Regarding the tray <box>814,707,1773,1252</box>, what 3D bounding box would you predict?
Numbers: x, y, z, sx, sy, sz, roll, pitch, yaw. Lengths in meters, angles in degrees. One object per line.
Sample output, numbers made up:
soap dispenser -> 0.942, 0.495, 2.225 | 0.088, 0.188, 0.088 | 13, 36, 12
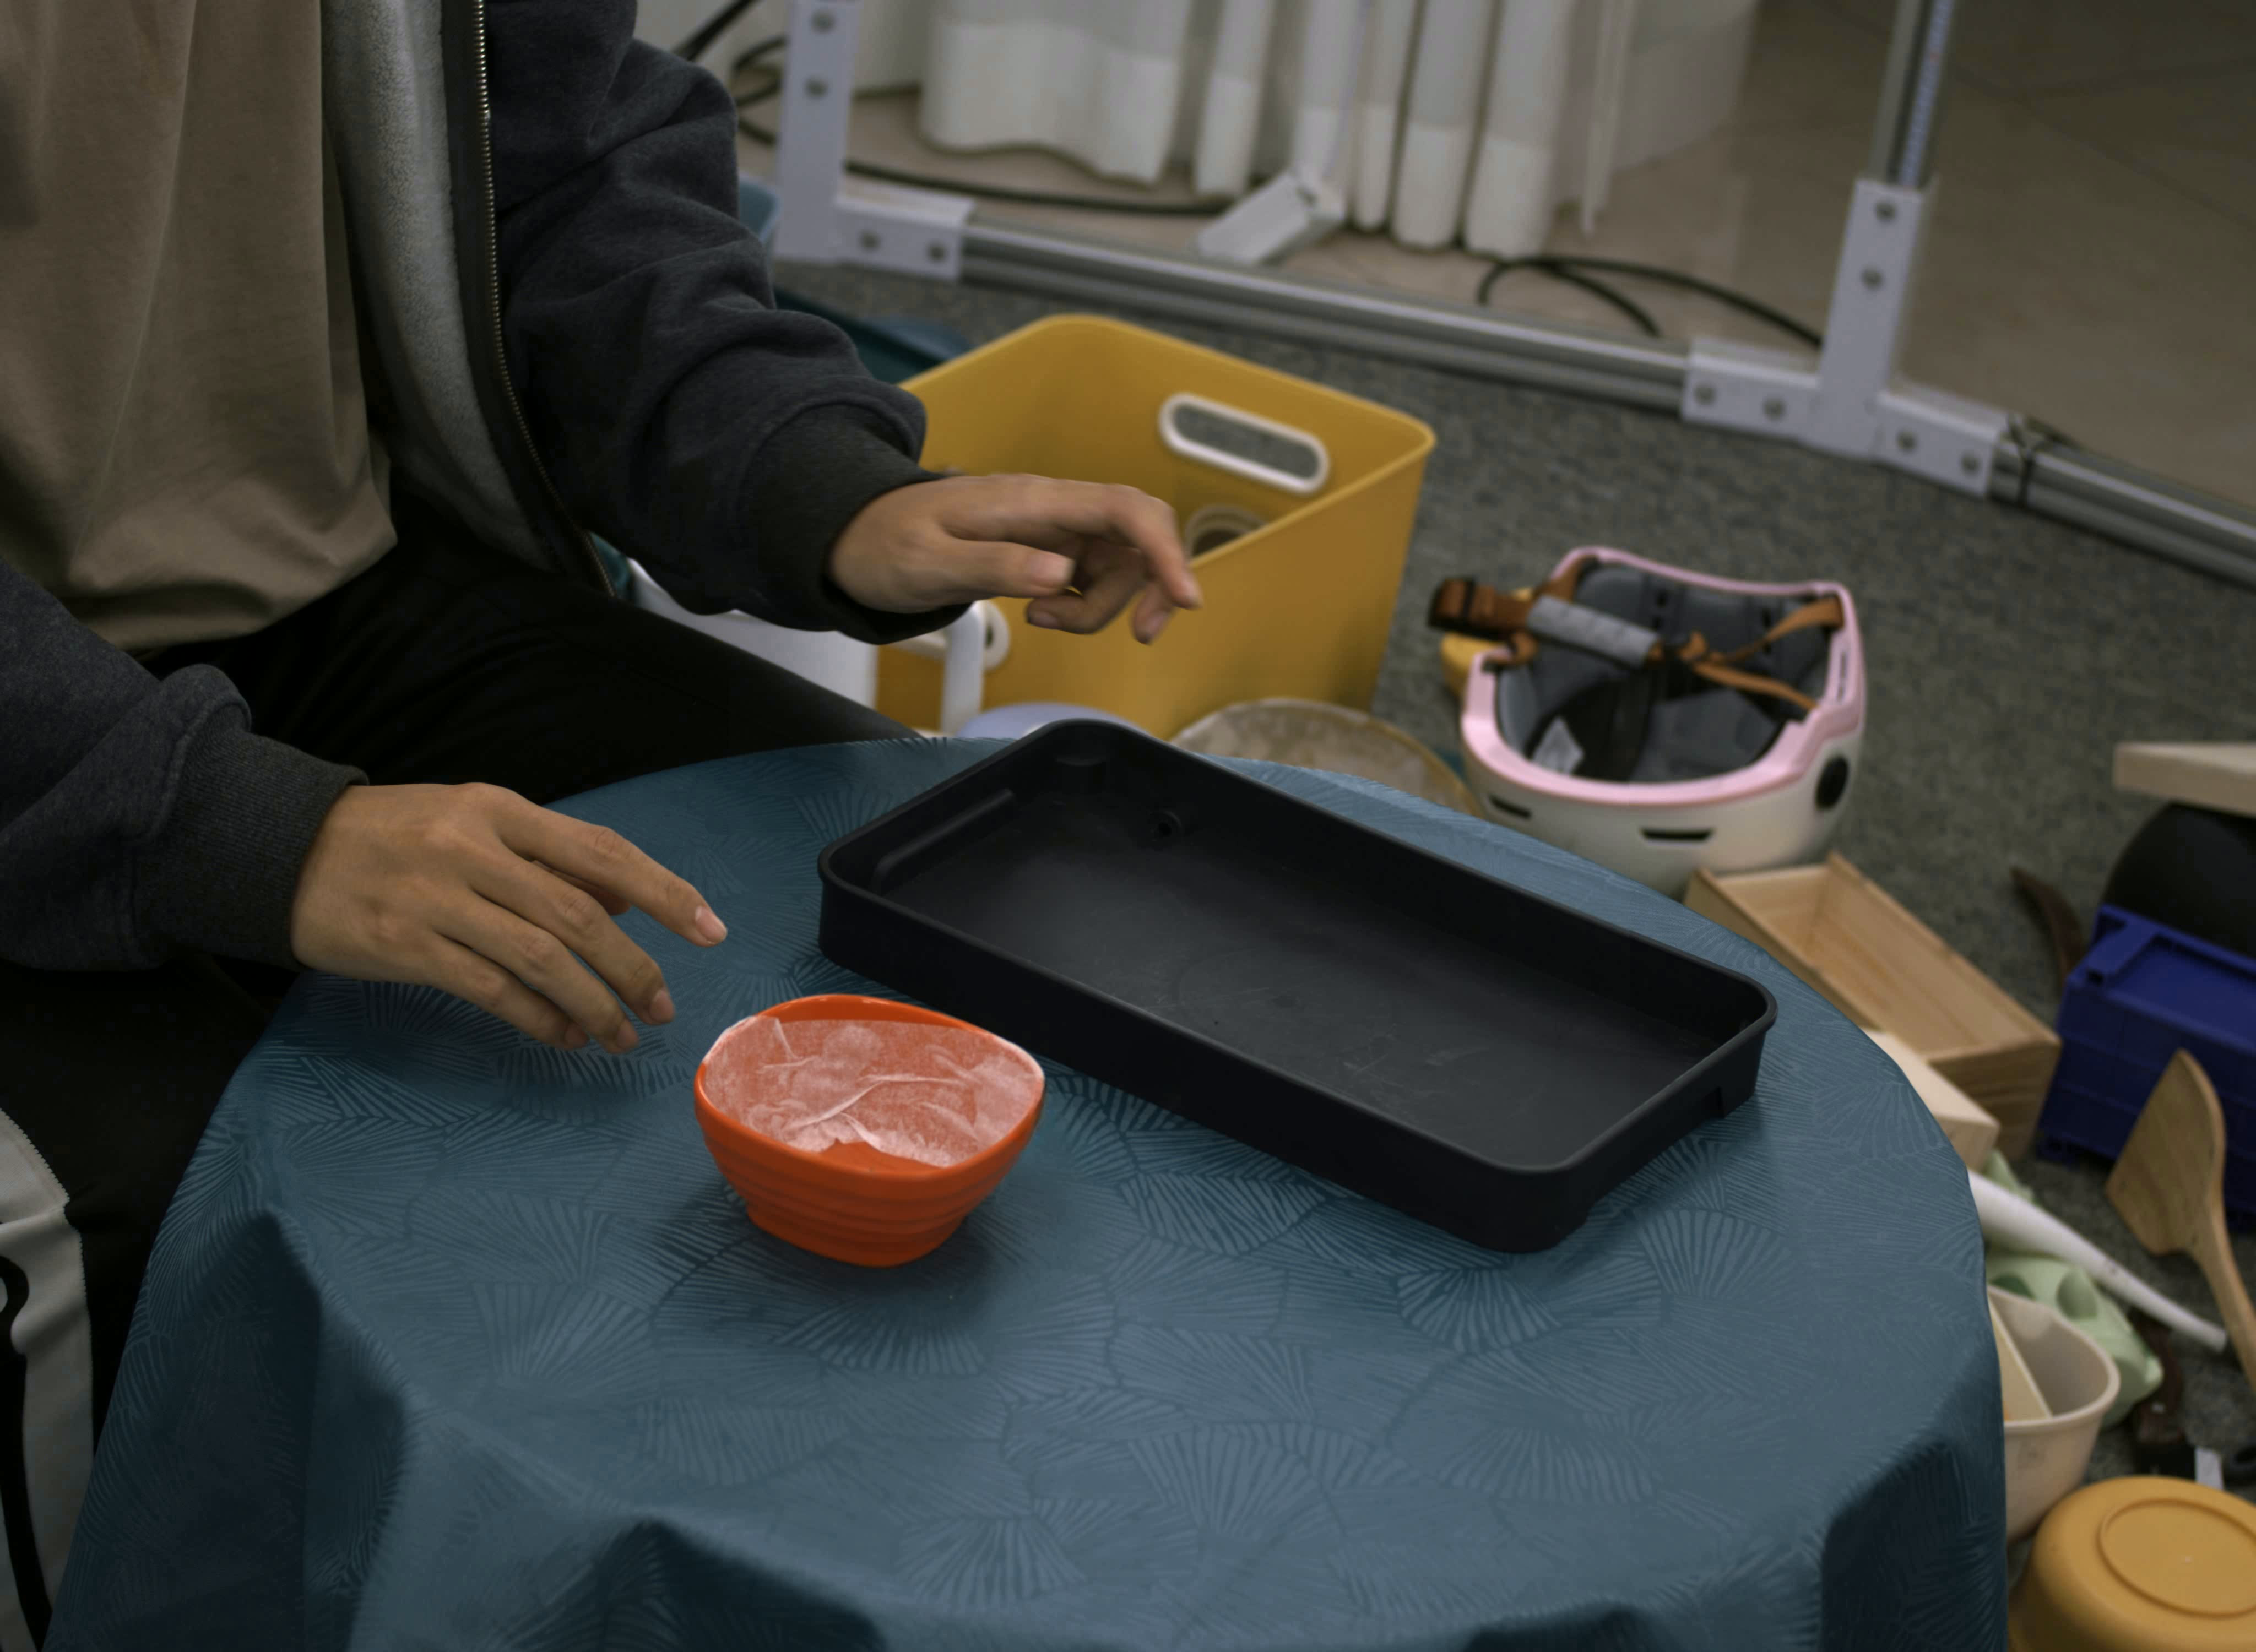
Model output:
tray -> 0.057, 0.050, 1.915 | 0.320, 0.037, 0.184 | 23, 31, 28

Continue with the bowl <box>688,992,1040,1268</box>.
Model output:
bowl -> -0.089, 0.105, 1.759 | 0.118, 0.051, 0.119 | 6, 27, -3
